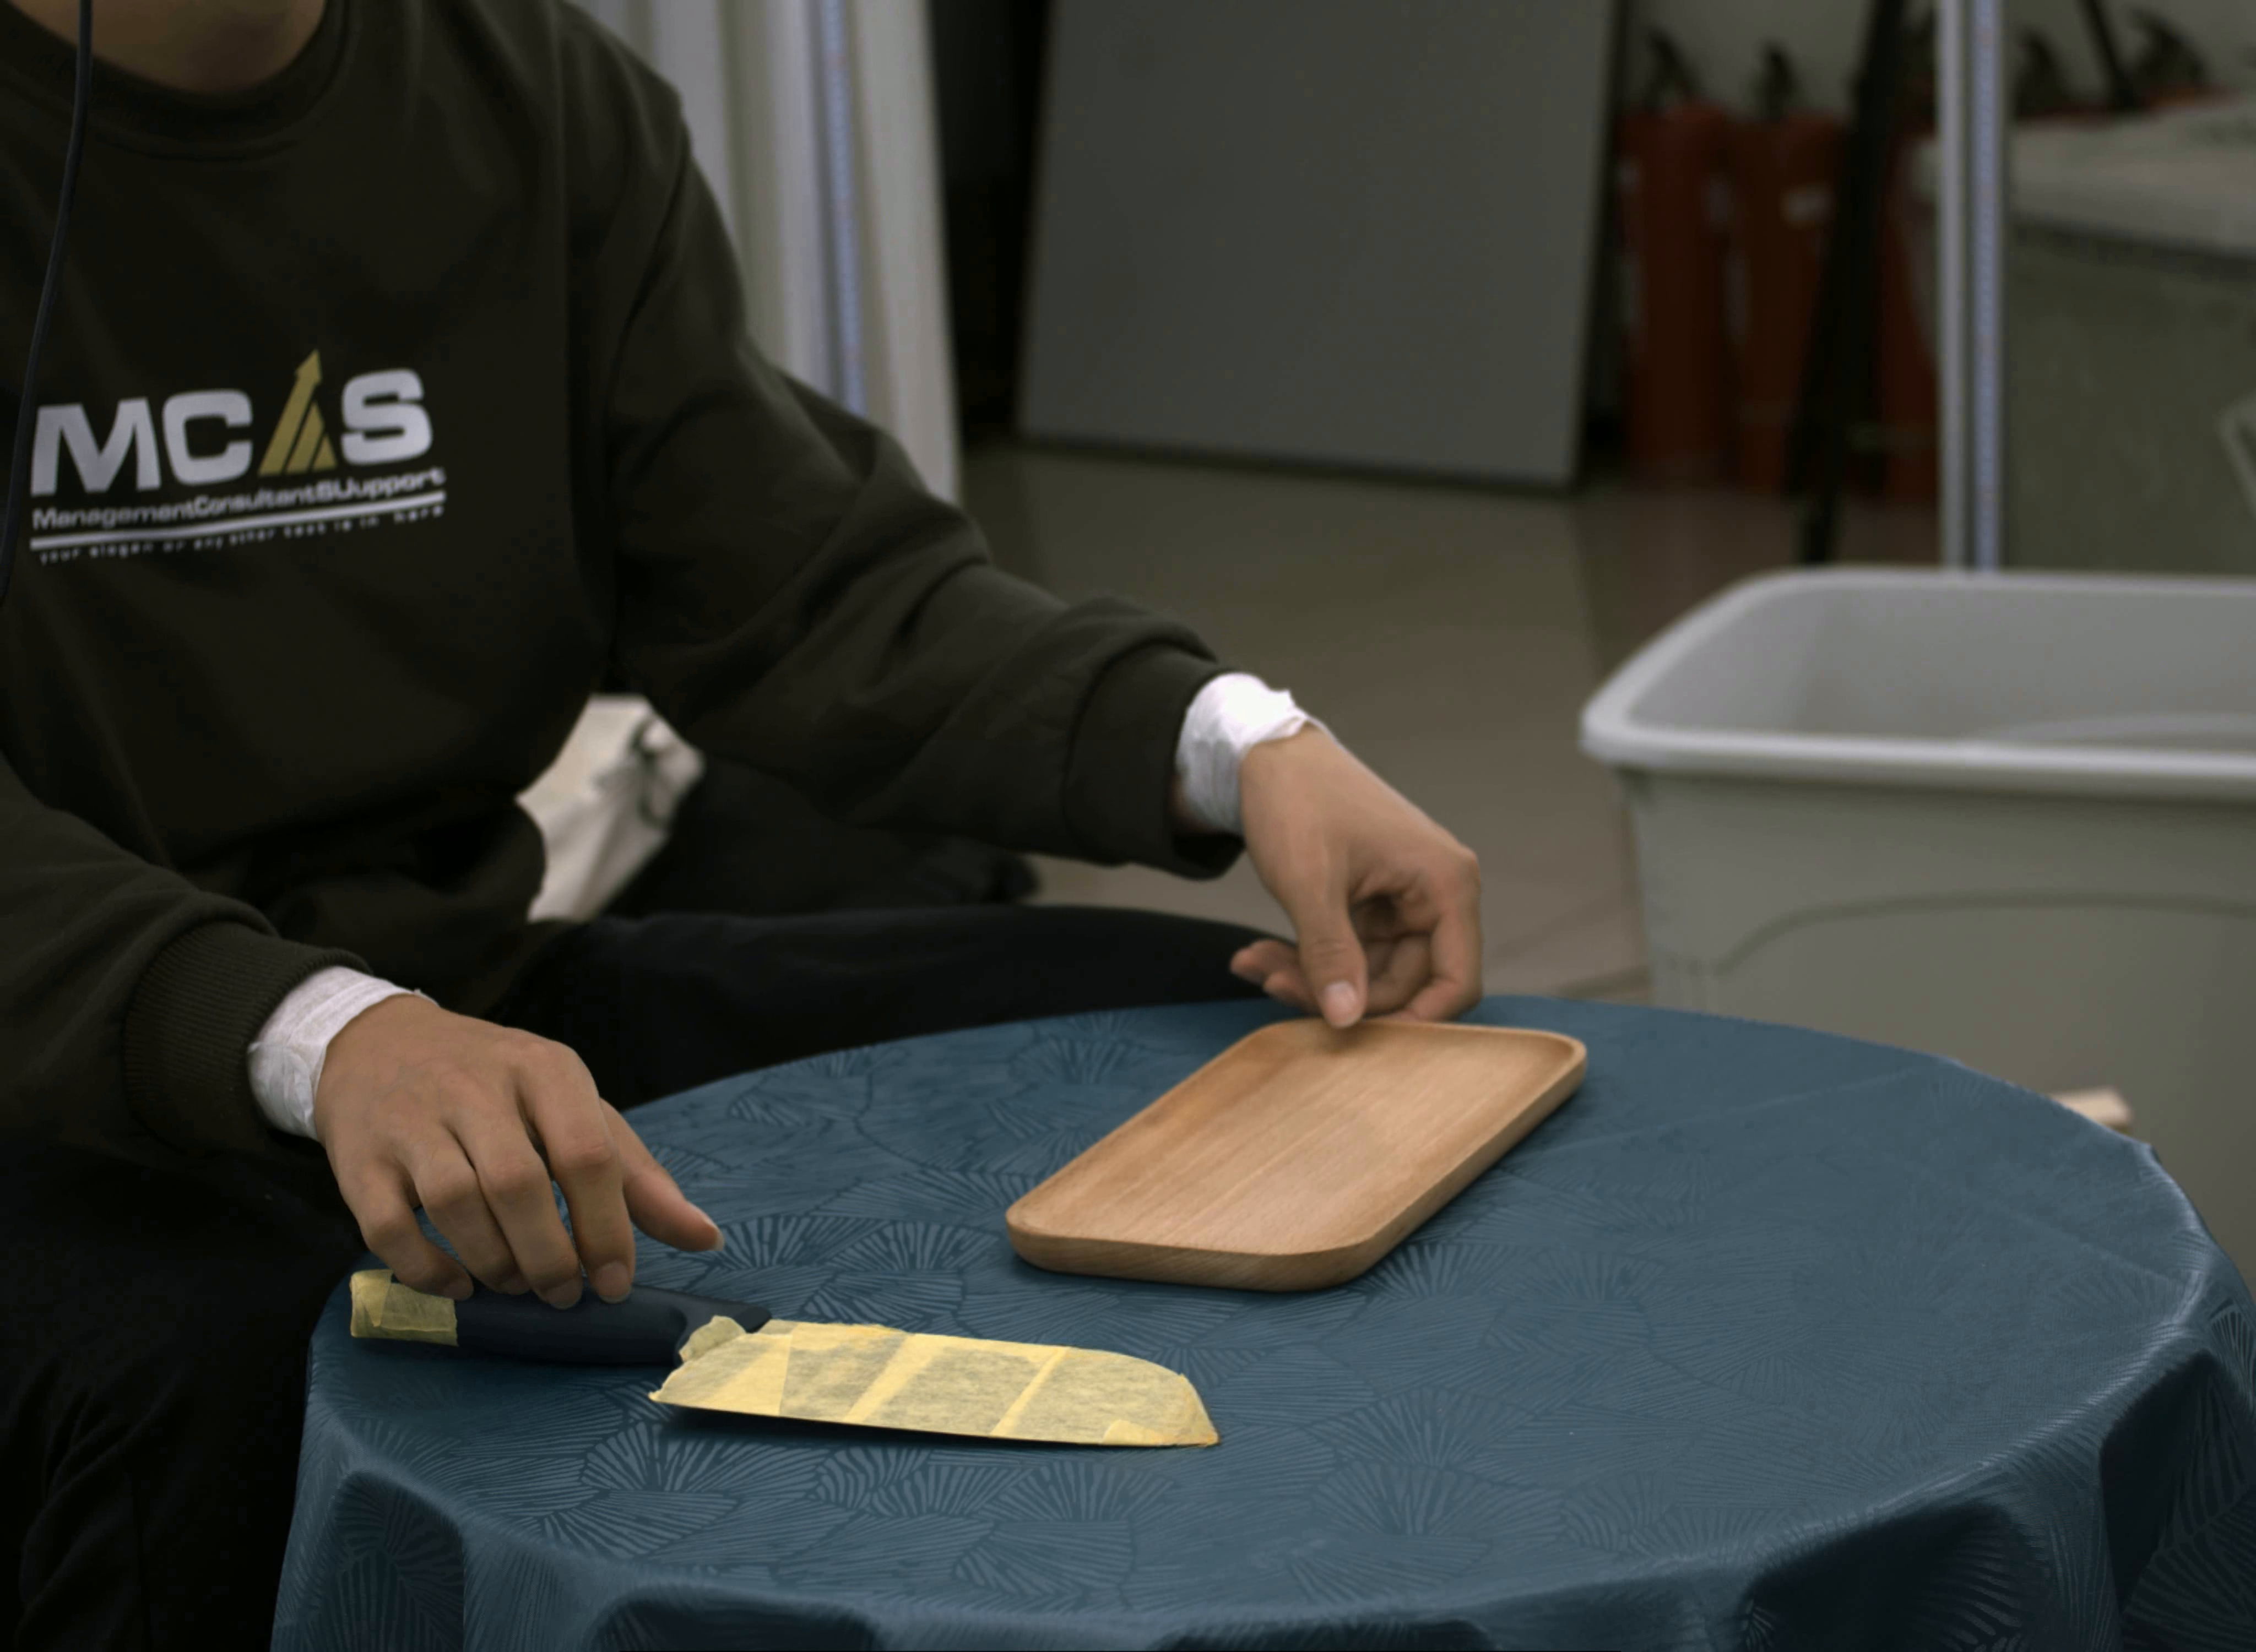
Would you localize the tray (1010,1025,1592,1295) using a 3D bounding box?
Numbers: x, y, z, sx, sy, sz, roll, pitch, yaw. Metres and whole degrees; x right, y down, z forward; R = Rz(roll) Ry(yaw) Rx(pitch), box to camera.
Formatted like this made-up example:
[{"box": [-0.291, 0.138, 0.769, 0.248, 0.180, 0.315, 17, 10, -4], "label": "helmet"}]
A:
[{"box": [0.062, 0.108, 1.779, 0.131, 0.023, 0.247, -1, 14, 26], "label": "tray"}]

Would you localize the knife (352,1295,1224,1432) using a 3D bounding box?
[{"box": [-0.107, 0.163, 1.604, 0.289, 0.027, 0.080, 2, 13, 21], "label": "knife"}]
